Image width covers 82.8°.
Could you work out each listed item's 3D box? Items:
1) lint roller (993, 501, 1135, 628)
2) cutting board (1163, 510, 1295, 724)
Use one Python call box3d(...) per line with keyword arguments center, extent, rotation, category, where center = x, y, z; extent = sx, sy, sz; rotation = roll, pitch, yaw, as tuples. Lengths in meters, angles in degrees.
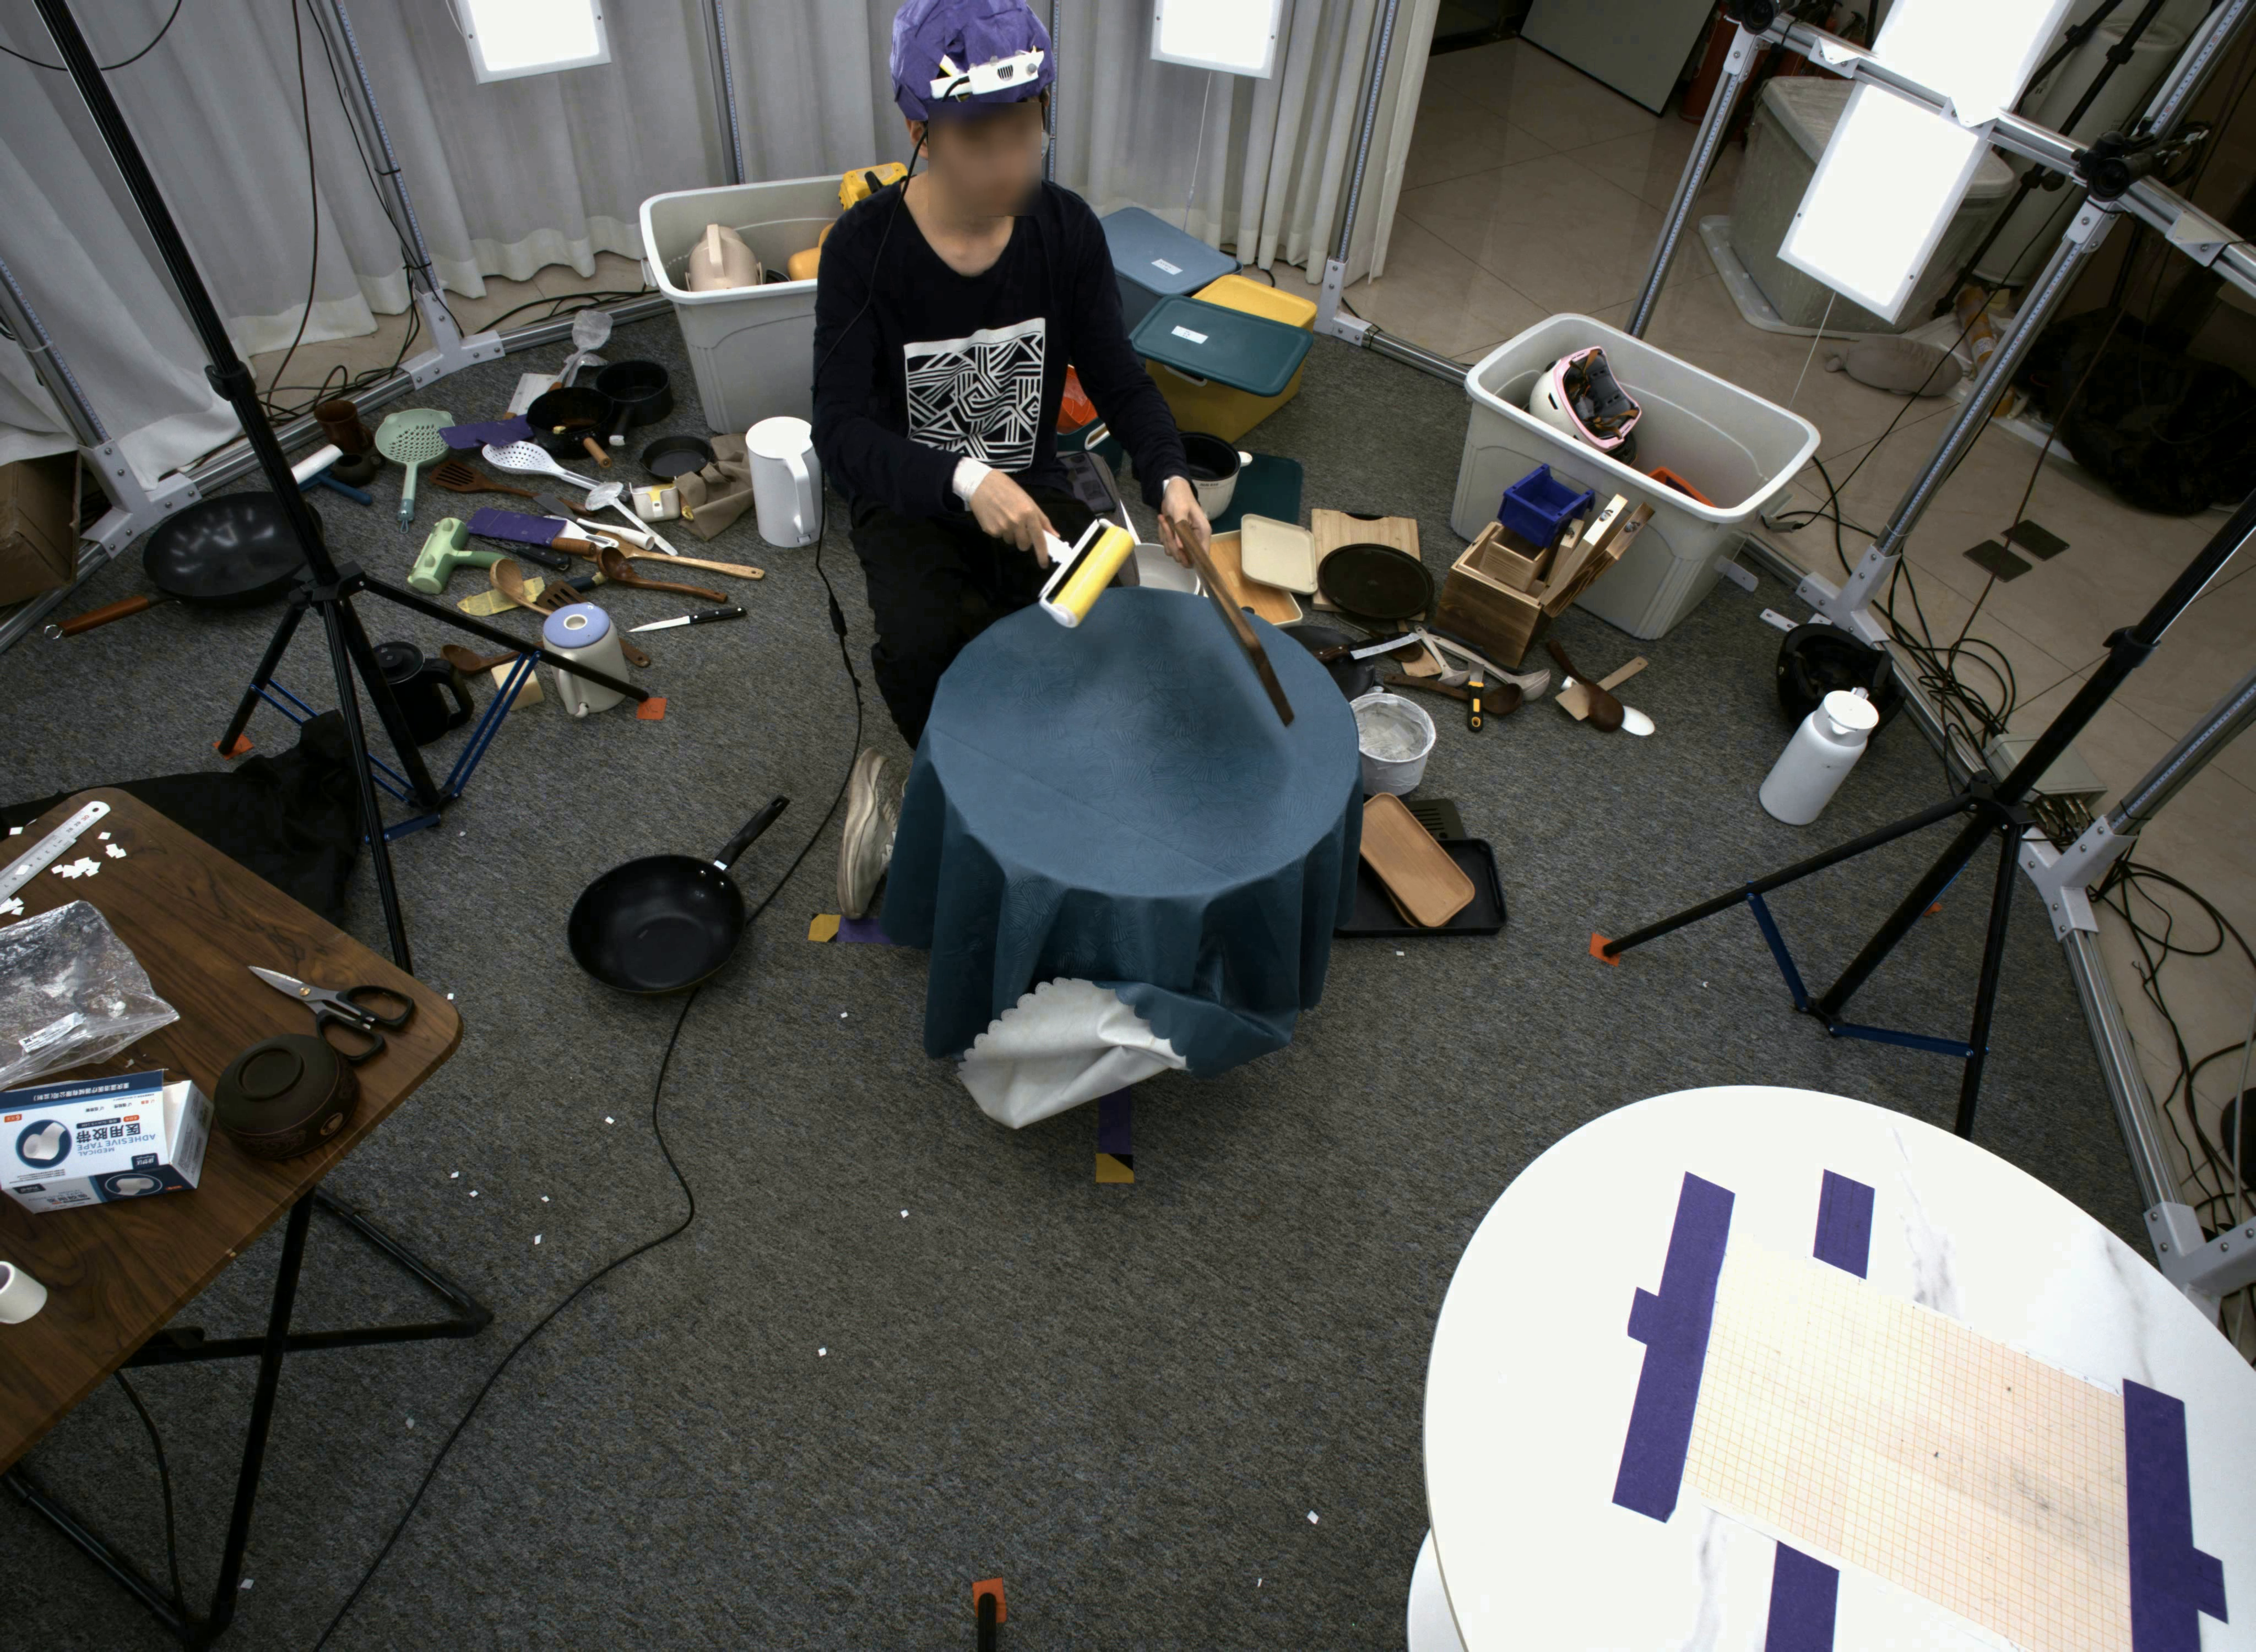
box3d(center=(-0.102, -0.393, 1.796), extent=(0.190, 0.051, 0.177), rotation=(38, 61, -15), category="lint roller")
box3d(center=(0.126, -0.314, 1.766), extent=(0.023, 0.197, 0.360), rotation=(-30, 56, 6), category="cutting board")
